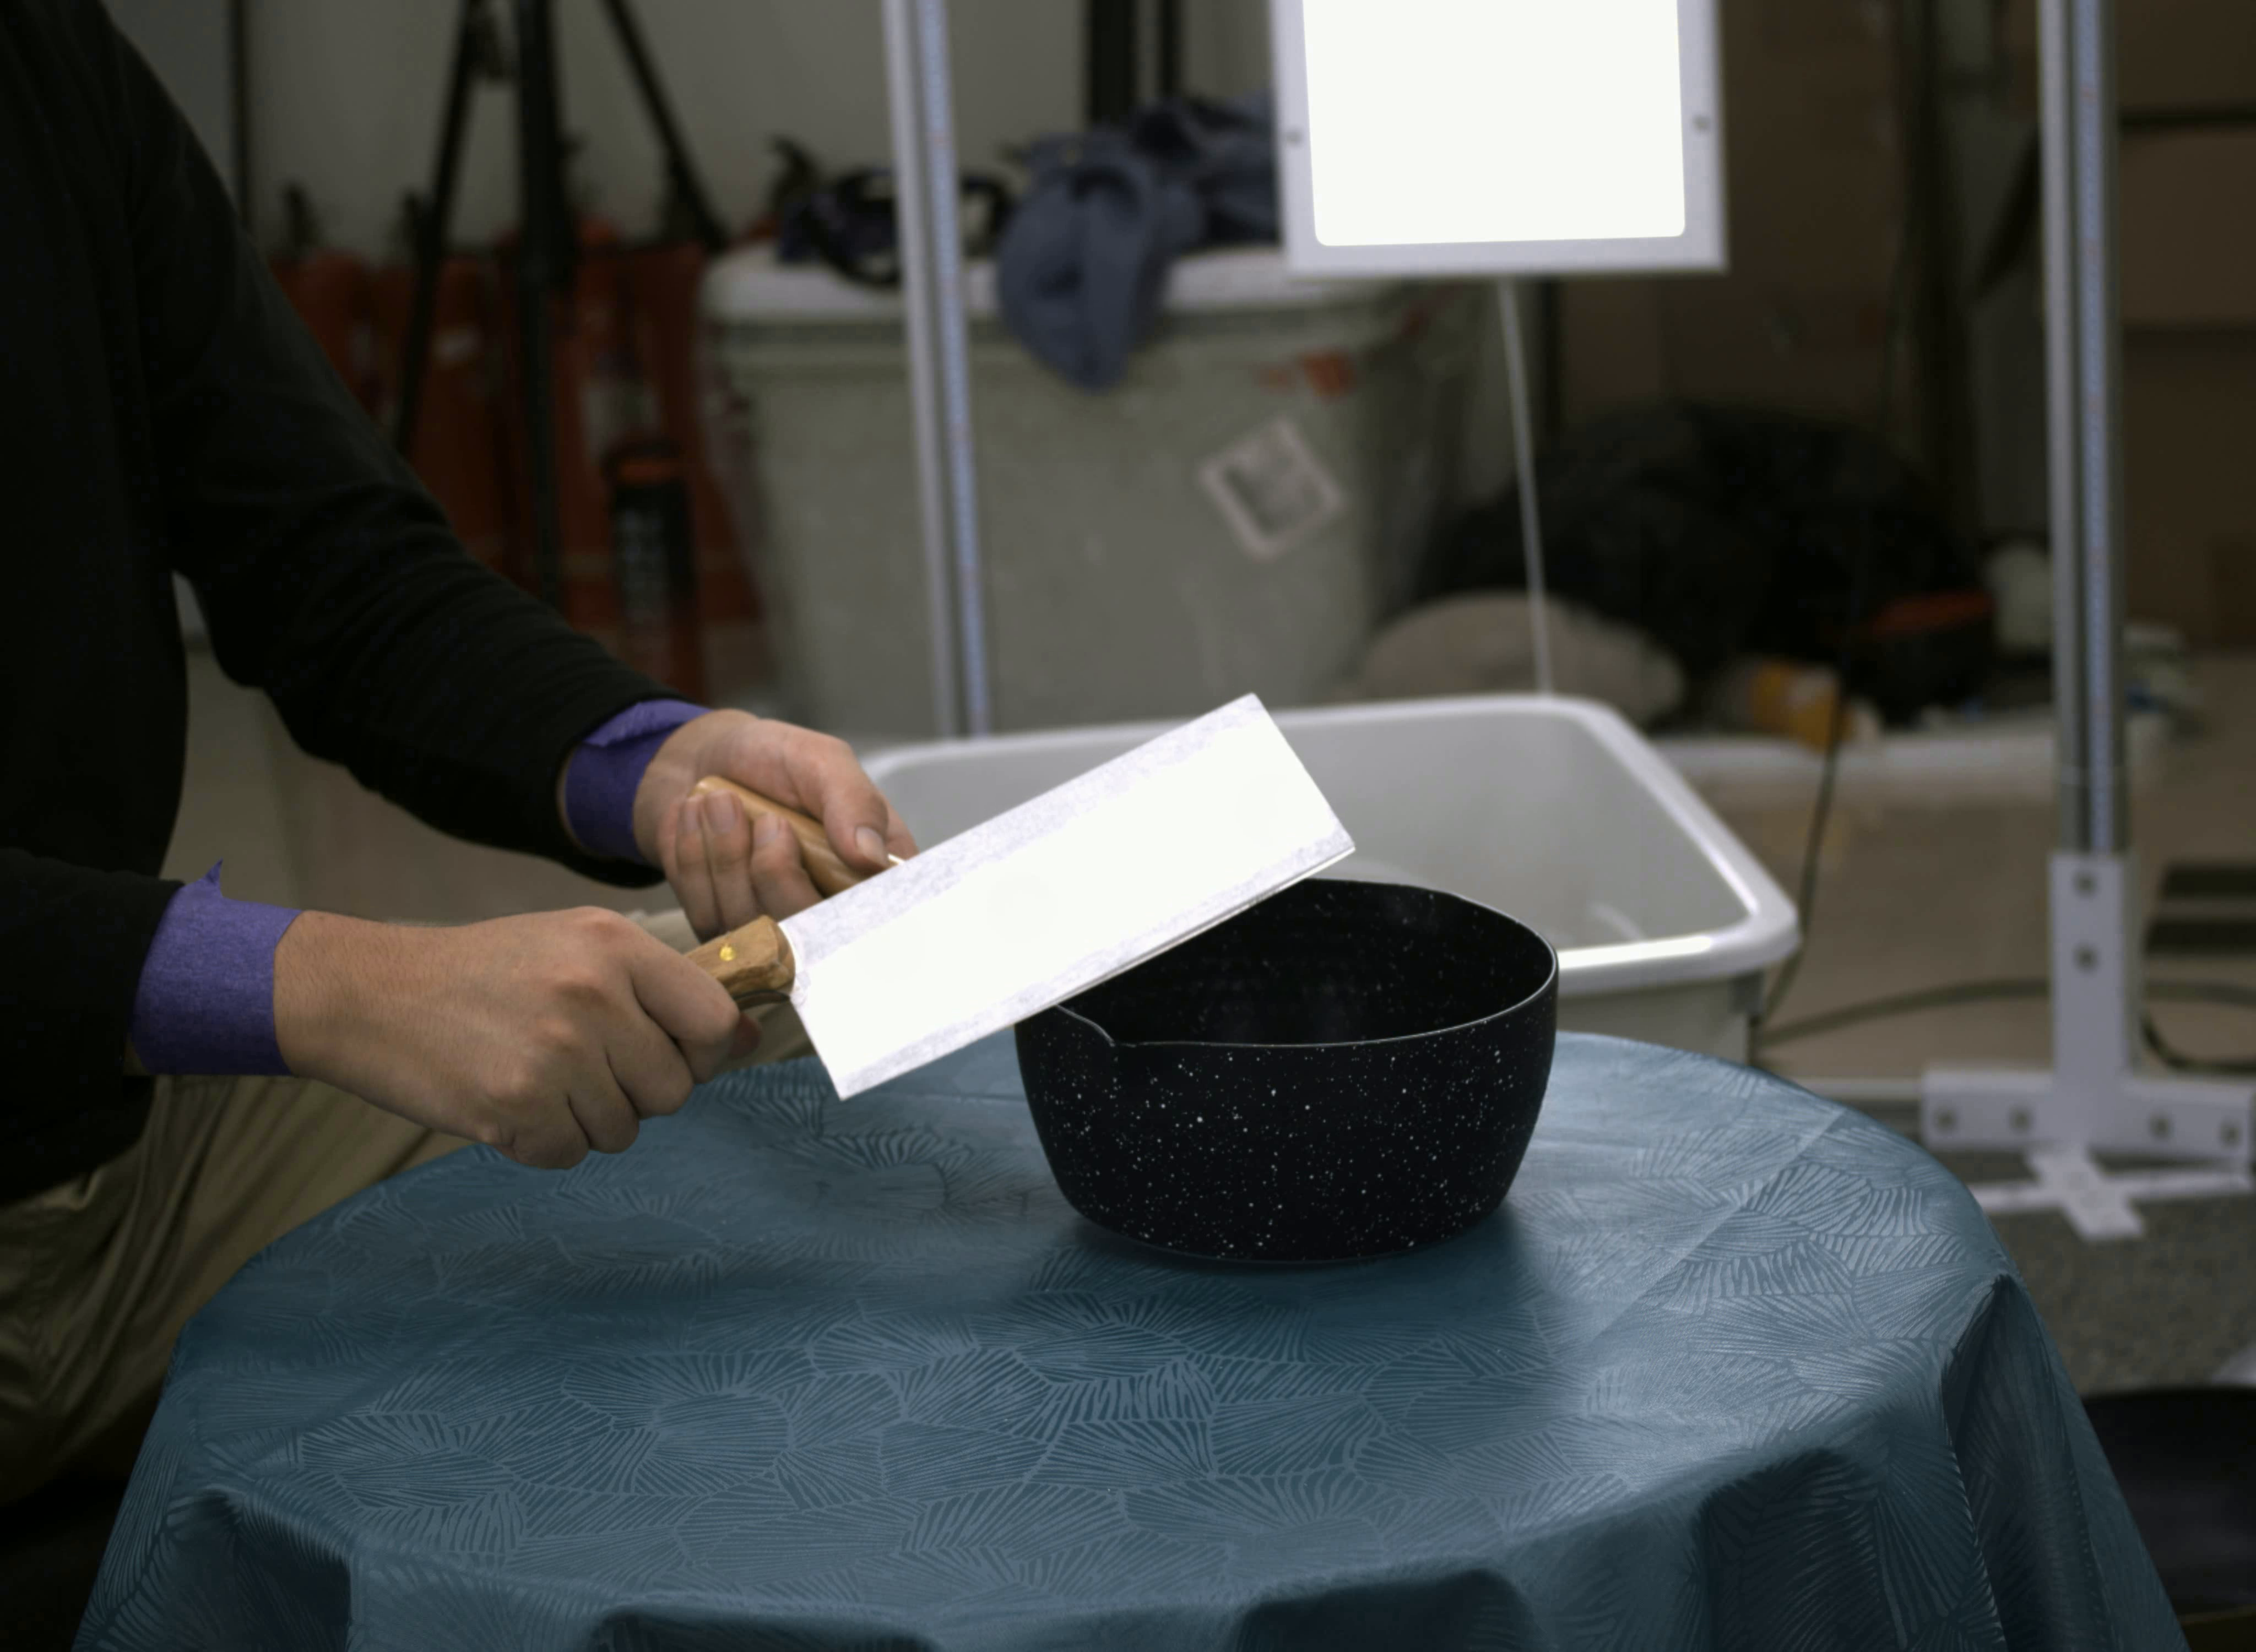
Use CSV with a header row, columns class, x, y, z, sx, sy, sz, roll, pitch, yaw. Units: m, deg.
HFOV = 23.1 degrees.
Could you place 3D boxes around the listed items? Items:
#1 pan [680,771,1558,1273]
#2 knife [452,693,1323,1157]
class,x,y,z,sx,sy,sz,roll,pitch,yaw
pan,-0.015,0.061,1.895,0.349,0.109,0.202,11,20,31
knife,-0.077,0.045,1.835,0.304,0.021,0.094,-27,44,-3
